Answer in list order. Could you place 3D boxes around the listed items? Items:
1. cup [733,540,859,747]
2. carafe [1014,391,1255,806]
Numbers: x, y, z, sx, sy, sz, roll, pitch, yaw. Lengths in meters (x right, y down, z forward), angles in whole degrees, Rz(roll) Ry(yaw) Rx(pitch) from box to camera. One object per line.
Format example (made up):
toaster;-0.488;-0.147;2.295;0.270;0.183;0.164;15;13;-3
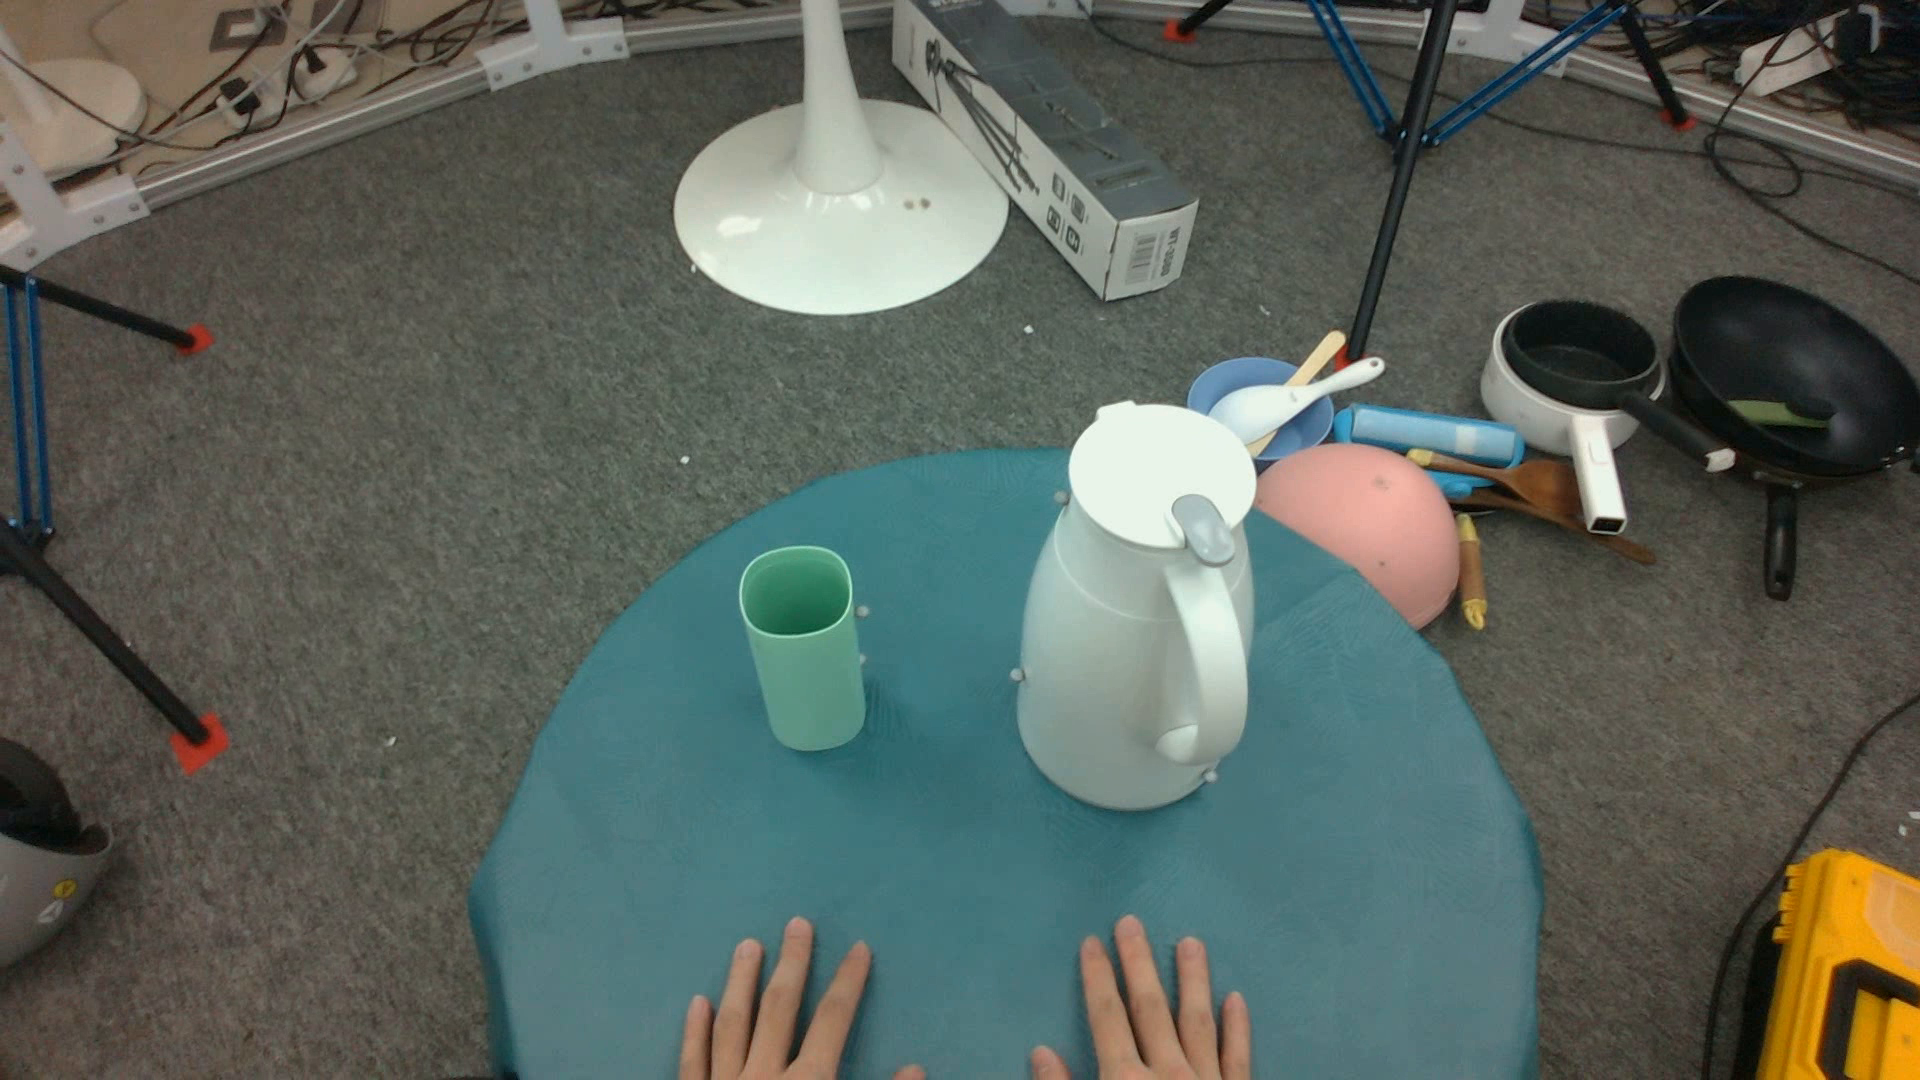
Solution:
cup;-0.094;0.065;0.812;0.067;0.131;0.067;0;52;0
carafe;0.106;0.047;0.750;0.133;0.247;0.168;-15;55;-11
